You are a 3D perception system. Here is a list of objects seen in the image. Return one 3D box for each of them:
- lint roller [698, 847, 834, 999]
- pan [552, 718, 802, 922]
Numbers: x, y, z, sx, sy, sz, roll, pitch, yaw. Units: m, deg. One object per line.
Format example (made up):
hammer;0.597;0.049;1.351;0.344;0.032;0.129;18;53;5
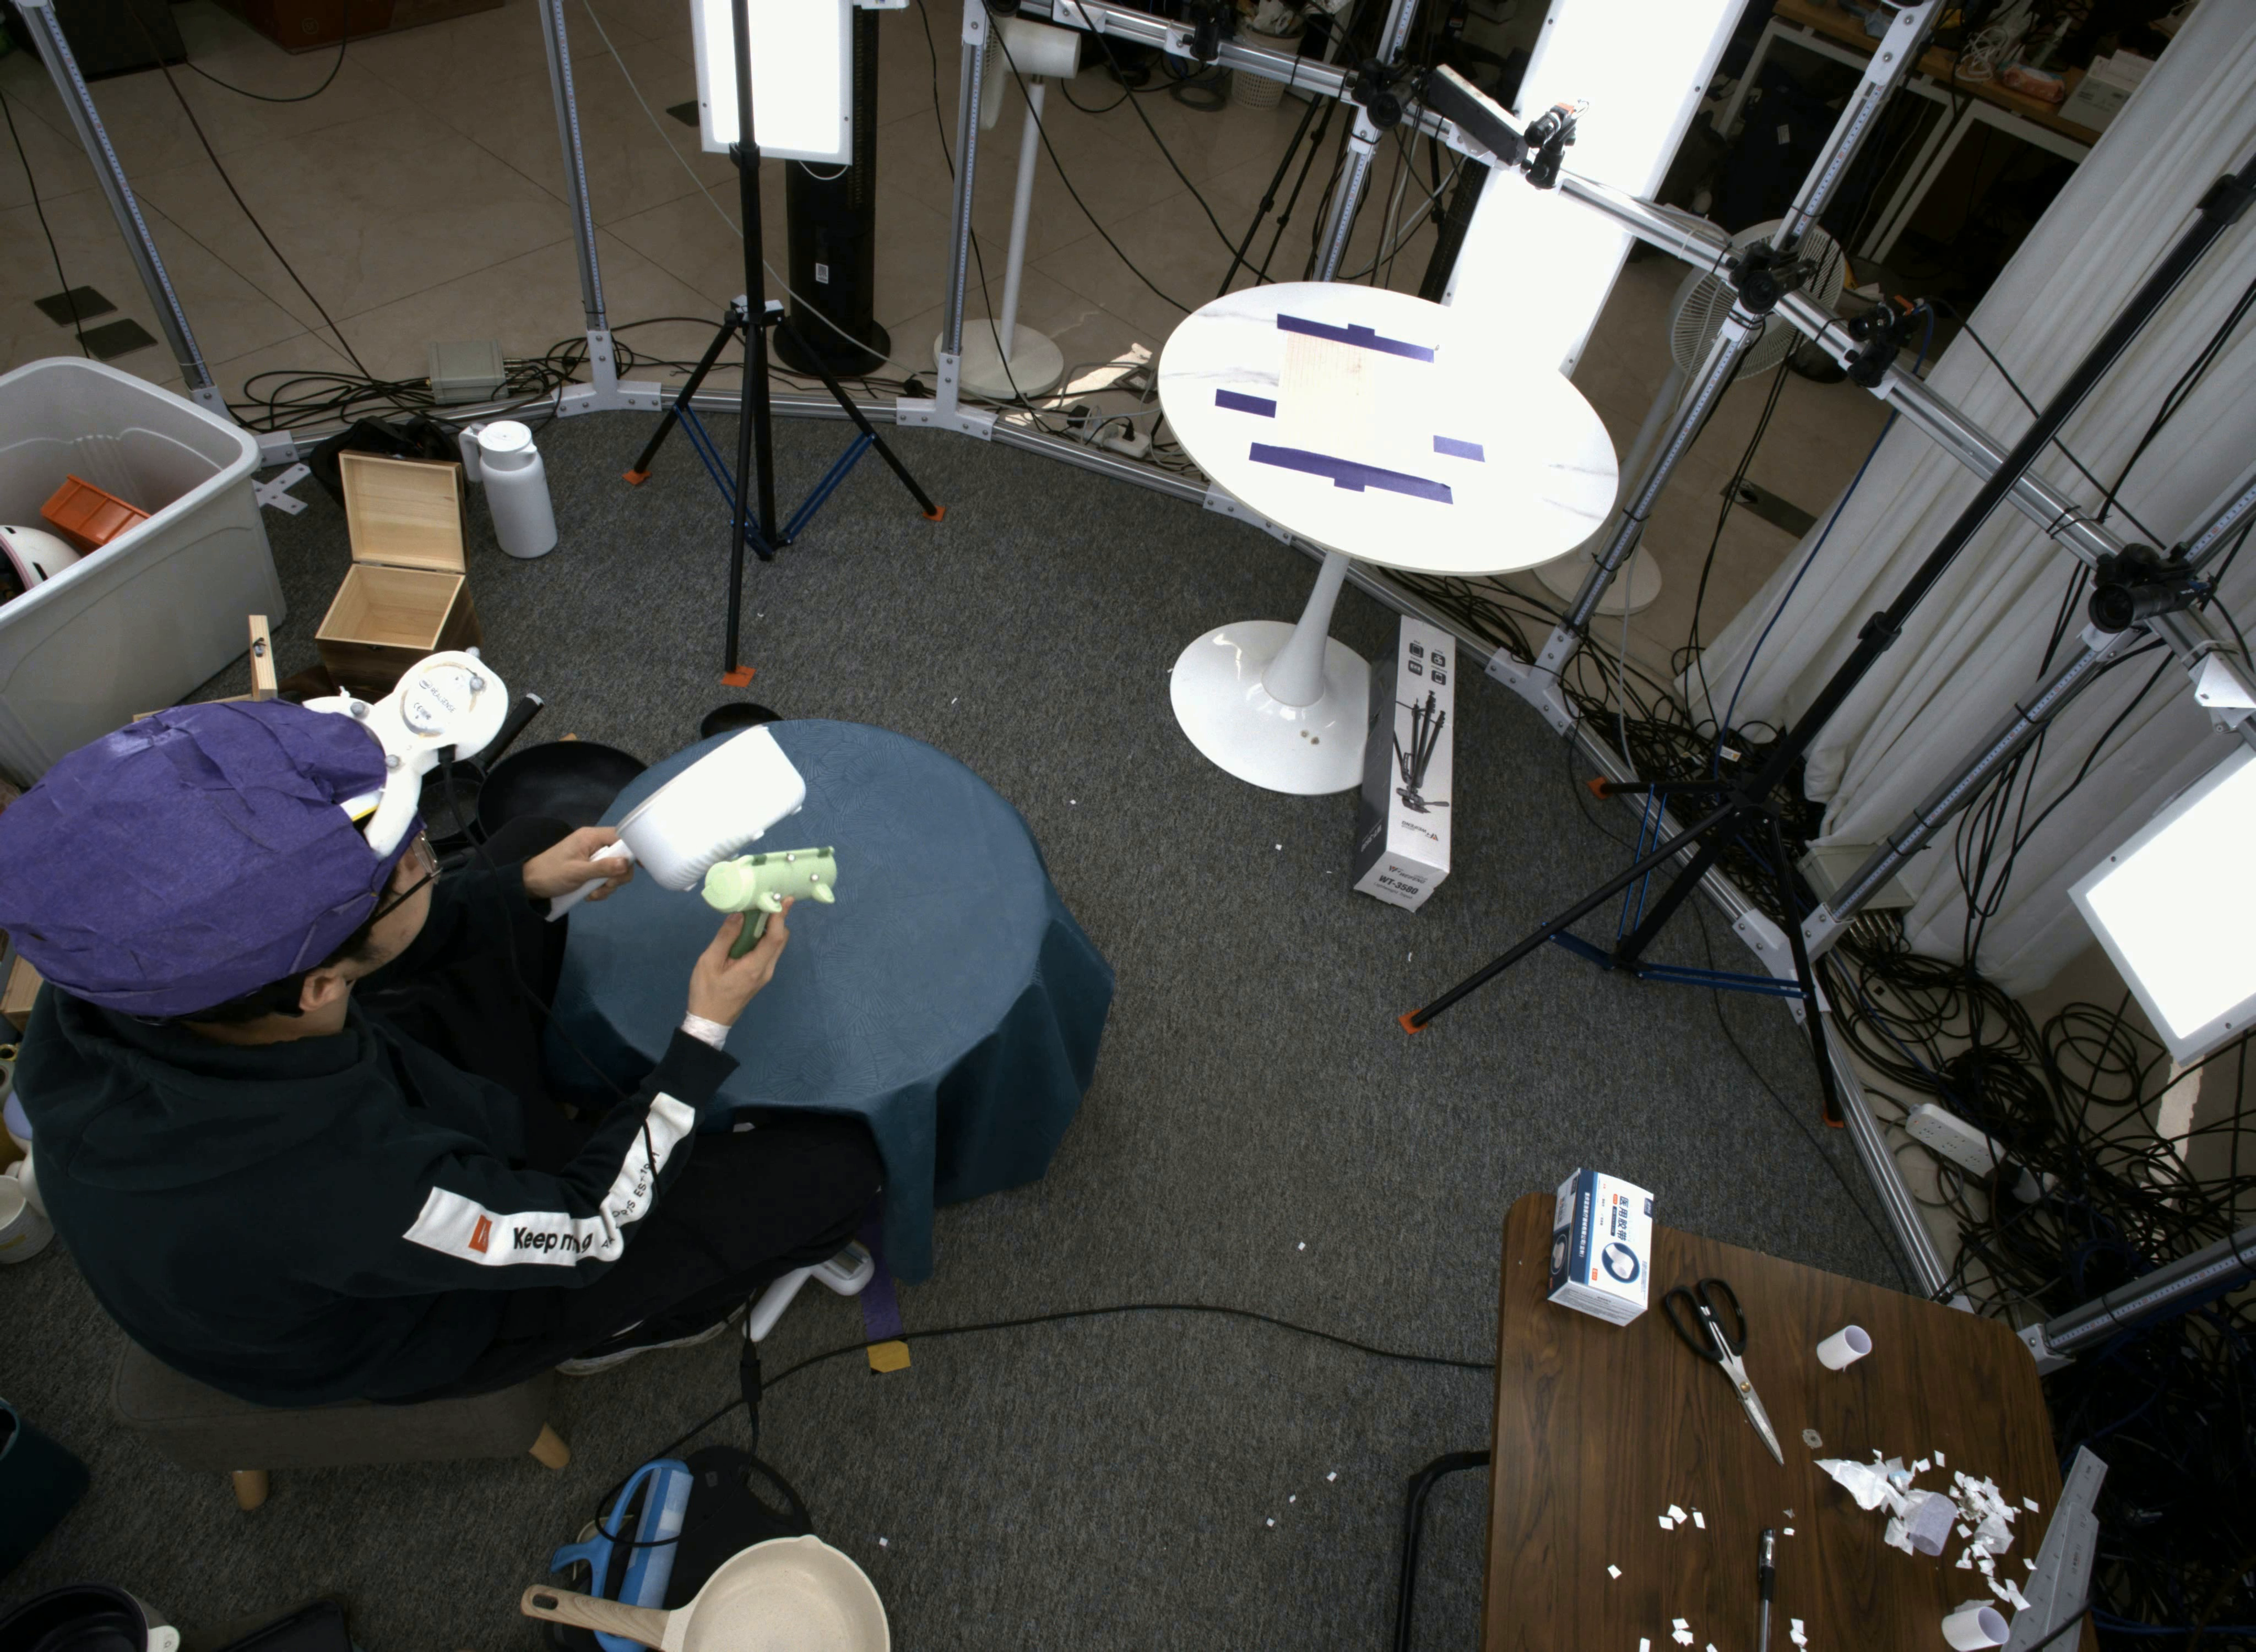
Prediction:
lint roller;-0.392;0.109;1.381;0.080;0.185;0.200;22;7;13
pan;-0.515;0.023;1.441;0.103;0.352;0.200;52;17;-8
